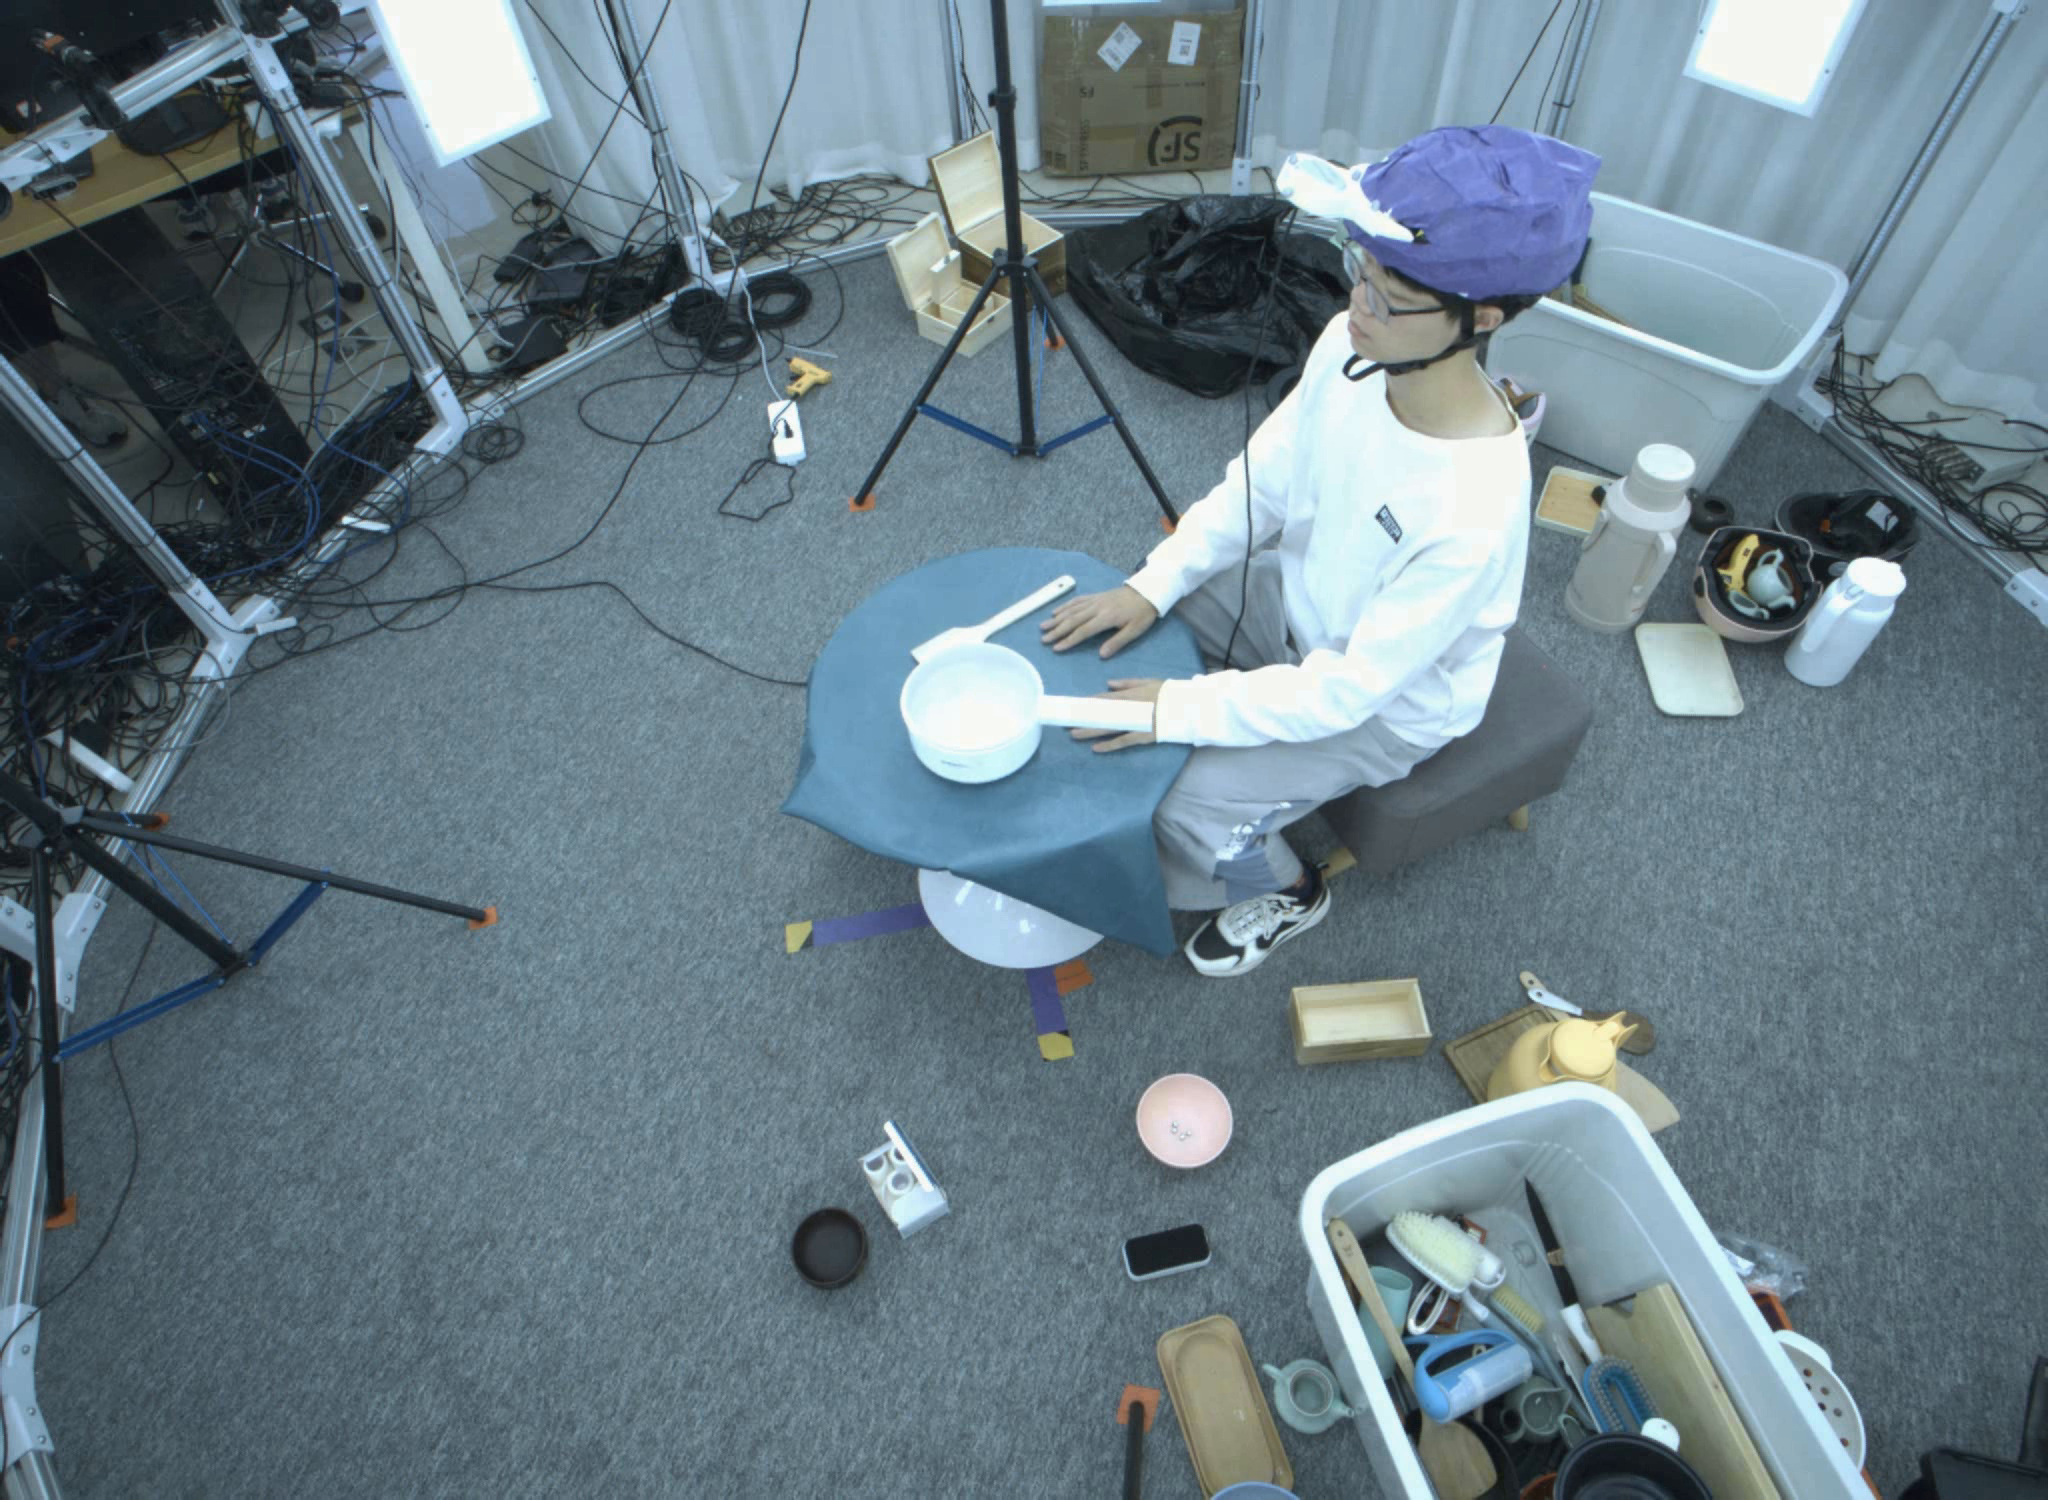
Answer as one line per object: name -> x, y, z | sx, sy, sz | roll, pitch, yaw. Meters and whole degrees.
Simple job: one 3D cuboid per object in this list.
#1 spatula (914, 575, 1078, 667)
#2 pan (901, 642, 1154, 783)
spatula -> -0.036, -0.203, 1.926 | 0.295, 0.011, 0.071 | -32, 58, -19
pan -> 0.006, -0.041, 1.753 | 0.354, 0.103, 0.200 | 6, 54, 4
